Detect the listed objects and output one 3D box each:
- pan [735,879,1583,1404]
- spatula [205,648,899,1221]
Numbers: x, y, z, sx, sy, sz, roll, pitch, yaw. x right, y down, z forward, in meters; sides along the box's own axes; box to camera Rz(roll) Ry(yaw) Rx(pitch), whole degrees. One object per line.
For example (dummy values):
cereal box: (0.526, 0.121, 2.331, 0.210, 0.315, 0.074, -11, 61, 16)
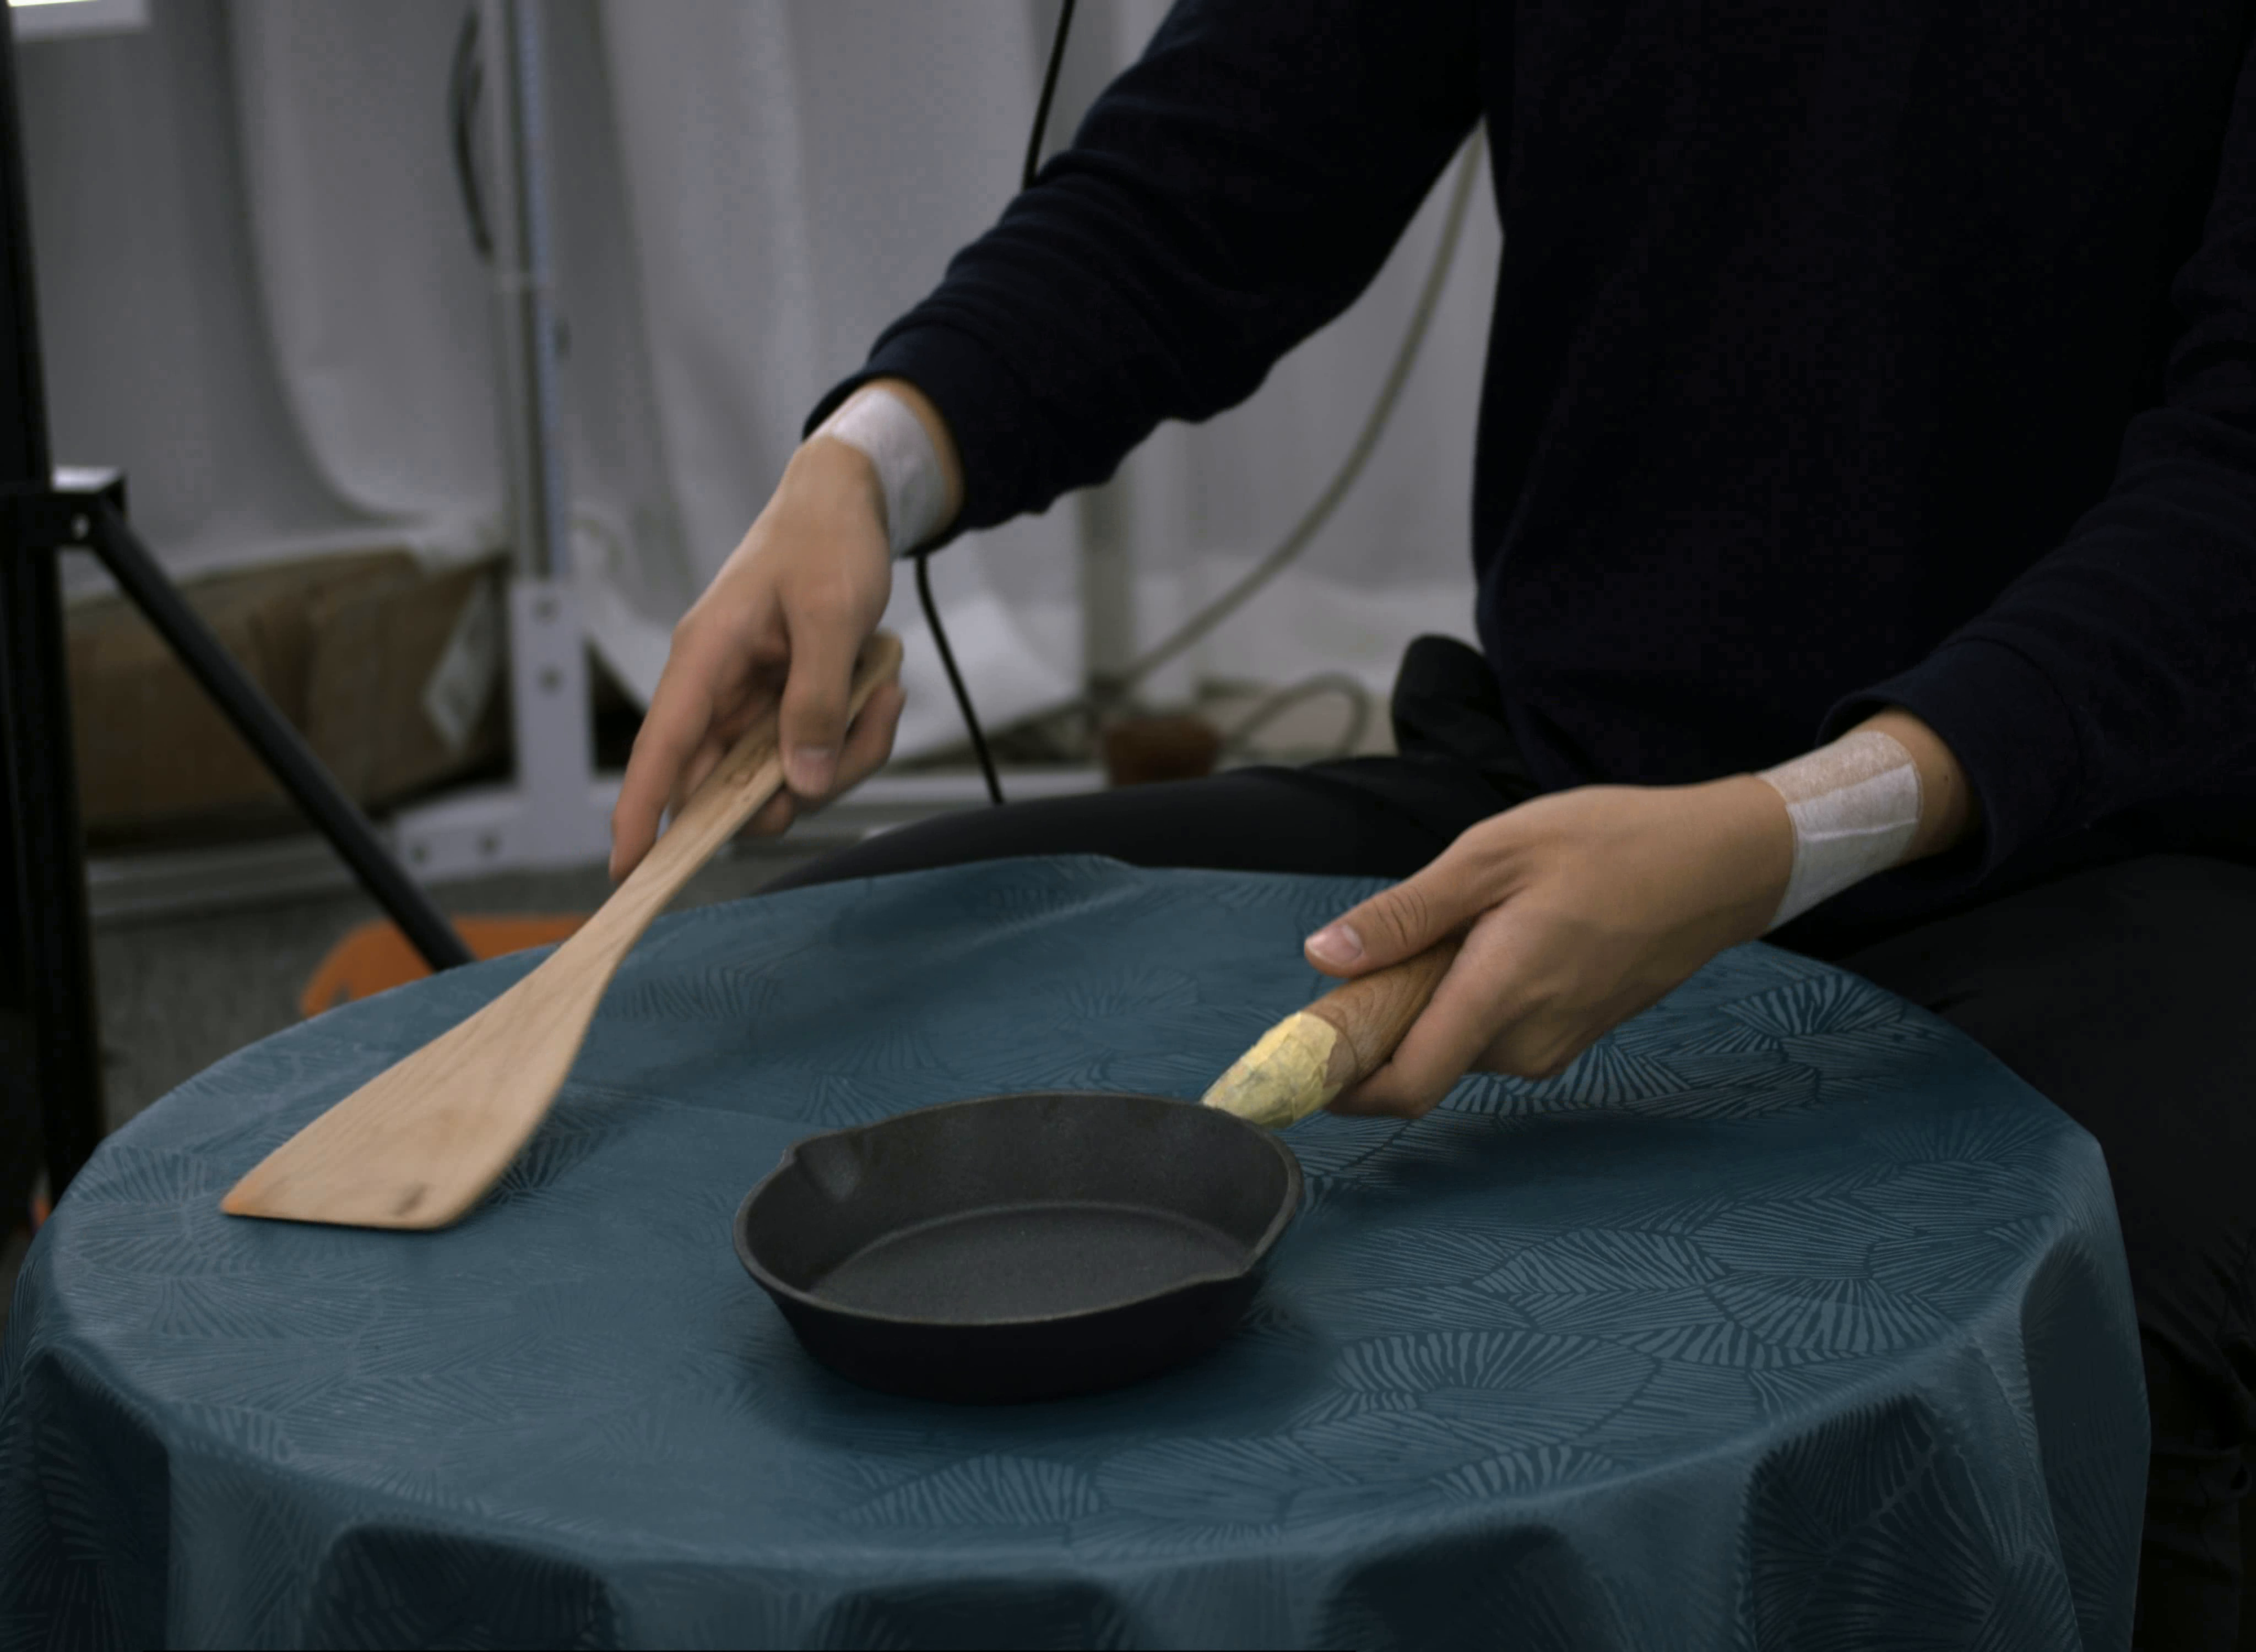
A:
pan: (0.029, 0.085, 1.508, 0.173, 0.049, 0.317, 13, 28, 43)
spatula: (-0.162, 0.031, 1.667, 0.081, 0.016, 0.324, 4, 37, 35)
